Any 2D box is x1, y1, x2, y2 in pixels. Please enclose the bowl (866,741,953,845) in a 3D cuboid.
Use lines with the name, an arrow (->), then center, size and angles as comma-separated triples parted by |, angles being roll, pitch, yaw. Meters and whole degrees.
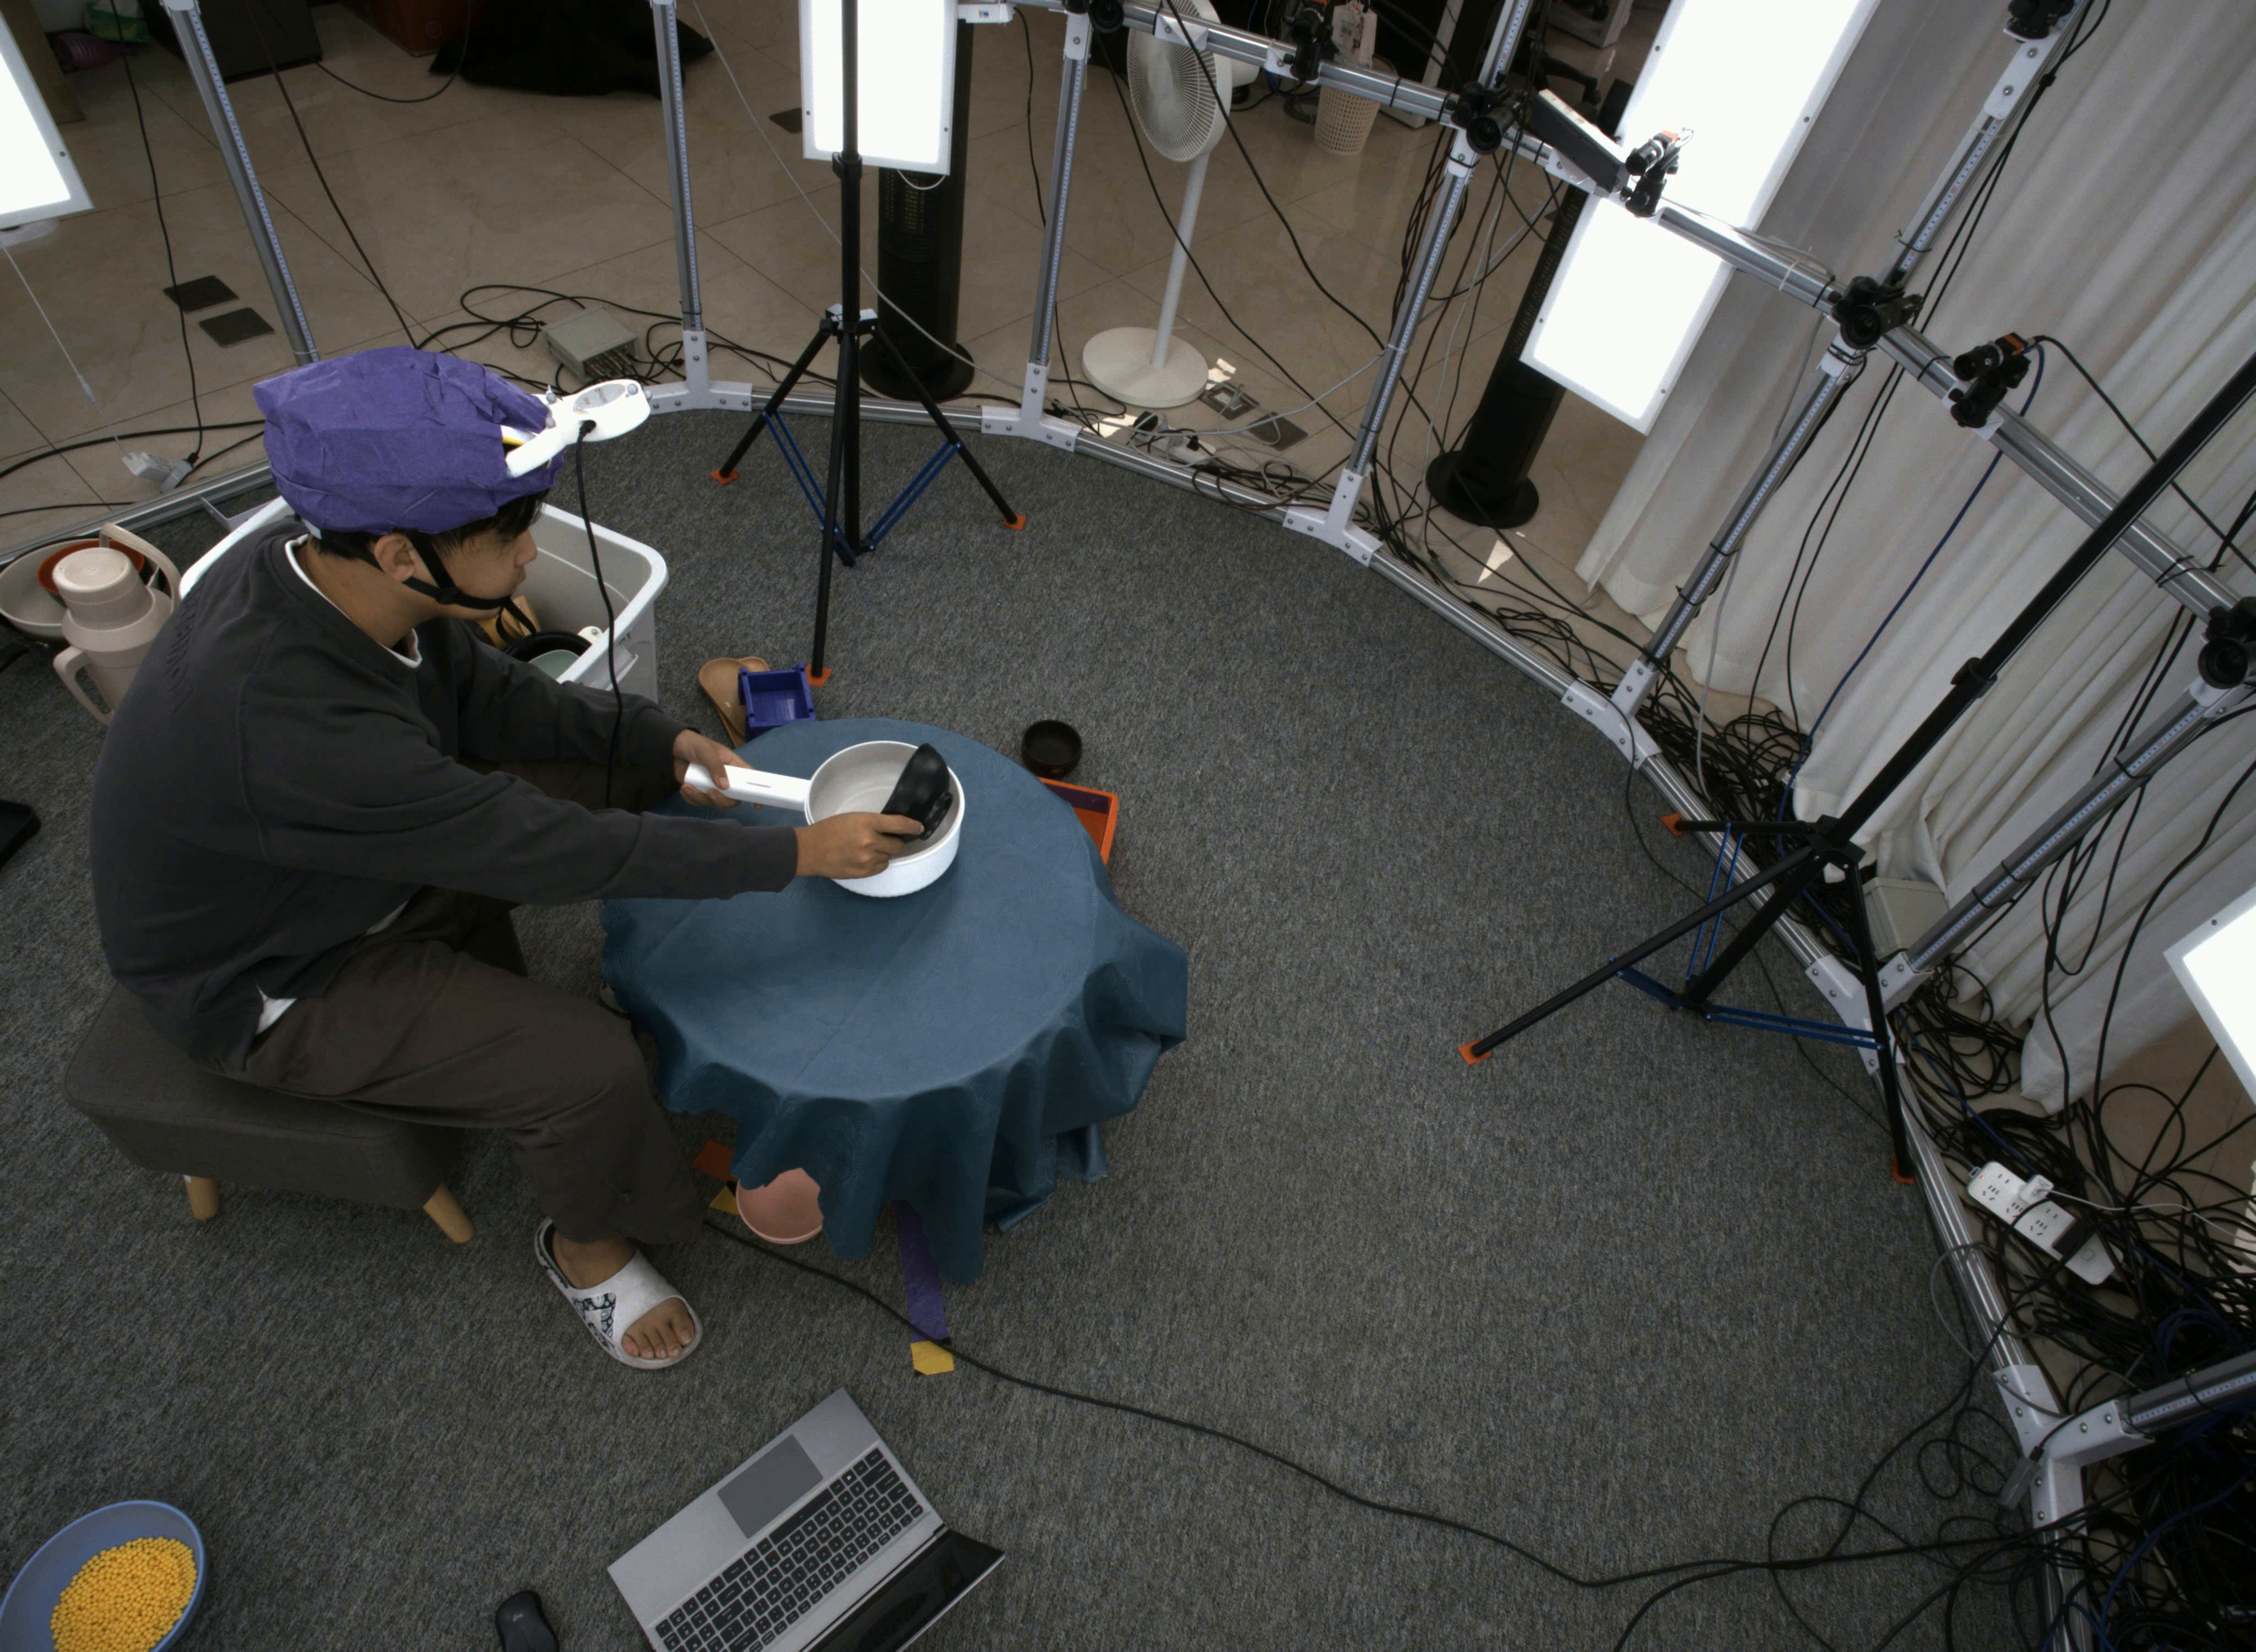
bowl -> -0.259, -0.030, 1.601 | 0.066, 0.170, 0.138 | 31, 97, 1

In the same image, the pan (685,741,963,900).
pan -> -0.391, -0.015, 1.683 | 0.352, 0.104, 0.198 | 9, 54, -4
